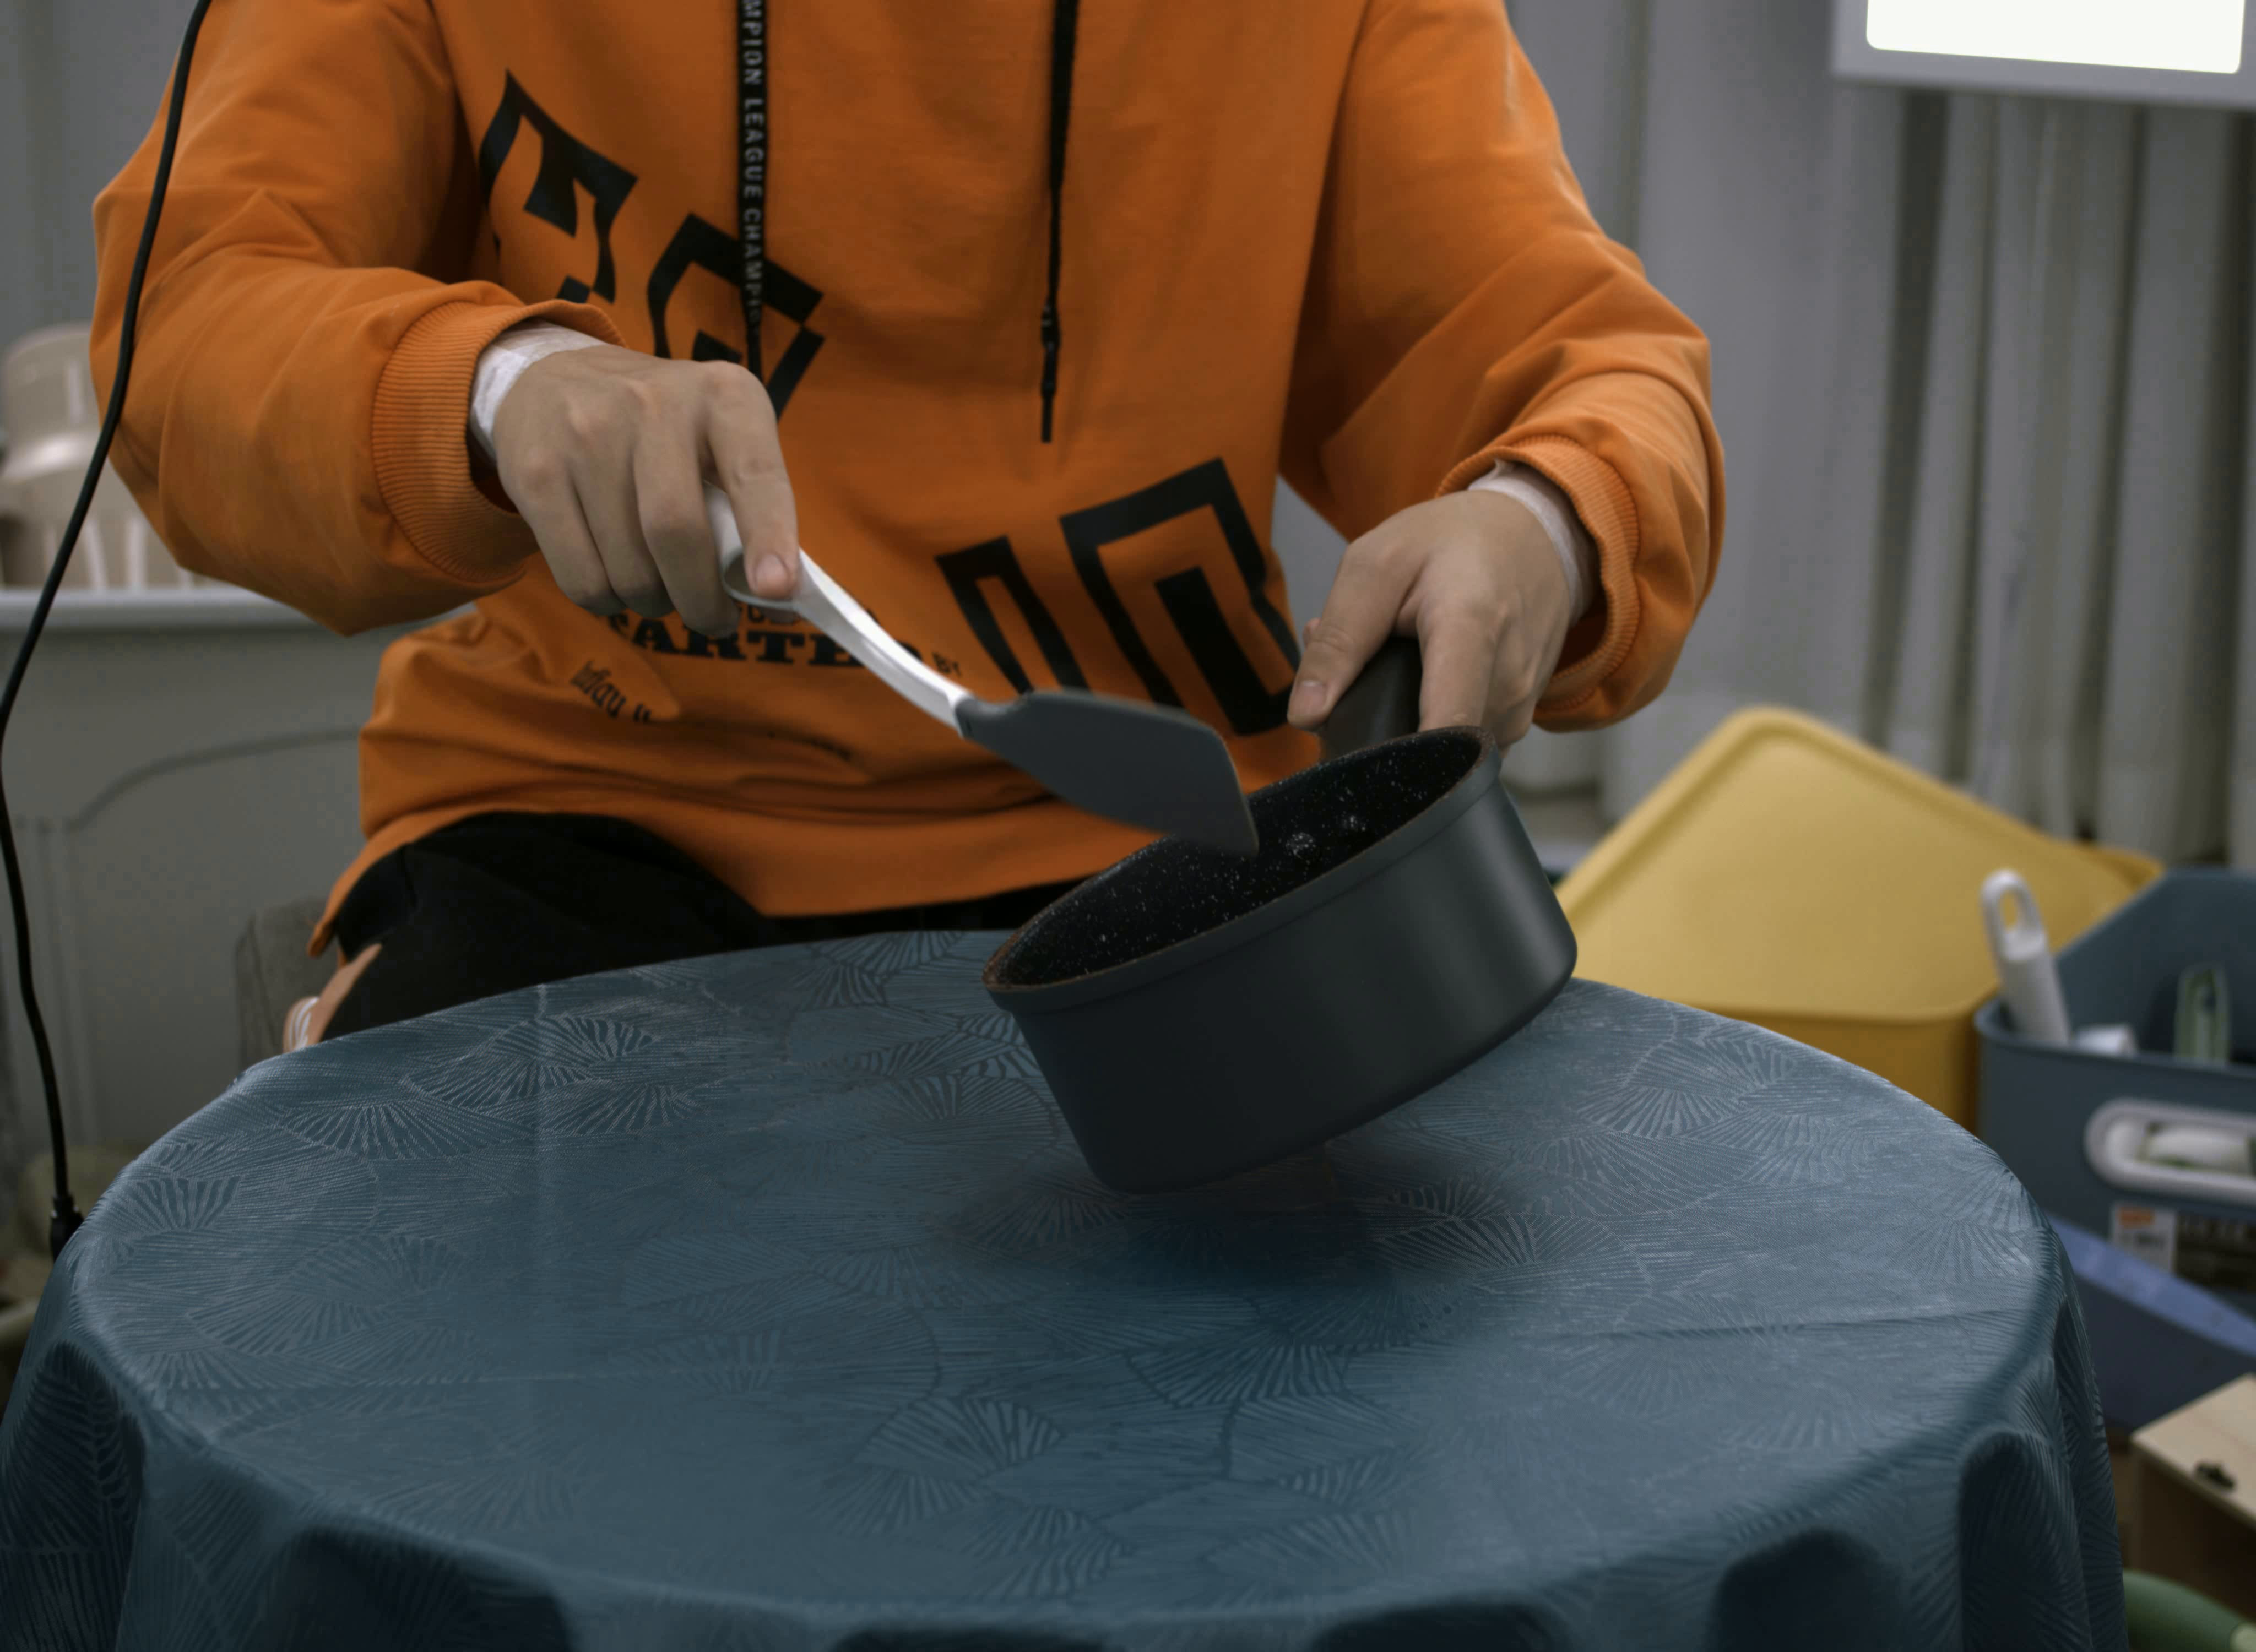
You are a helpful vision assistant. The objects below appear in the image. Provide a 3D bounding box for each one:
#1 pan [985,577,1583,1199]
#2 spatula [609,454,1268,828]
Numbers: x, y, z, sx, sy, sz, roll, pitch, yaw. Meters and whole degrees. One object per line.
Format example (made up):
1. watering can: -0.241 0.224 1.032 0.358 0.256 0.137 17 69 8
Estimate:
1. pan: 0.071 0.013 1.658 0.171 0.087 0.328 -21 13 24
2. spatula: -0.063 -0.058 1.605 0.032 0.059 0.283 -38 42 -25
